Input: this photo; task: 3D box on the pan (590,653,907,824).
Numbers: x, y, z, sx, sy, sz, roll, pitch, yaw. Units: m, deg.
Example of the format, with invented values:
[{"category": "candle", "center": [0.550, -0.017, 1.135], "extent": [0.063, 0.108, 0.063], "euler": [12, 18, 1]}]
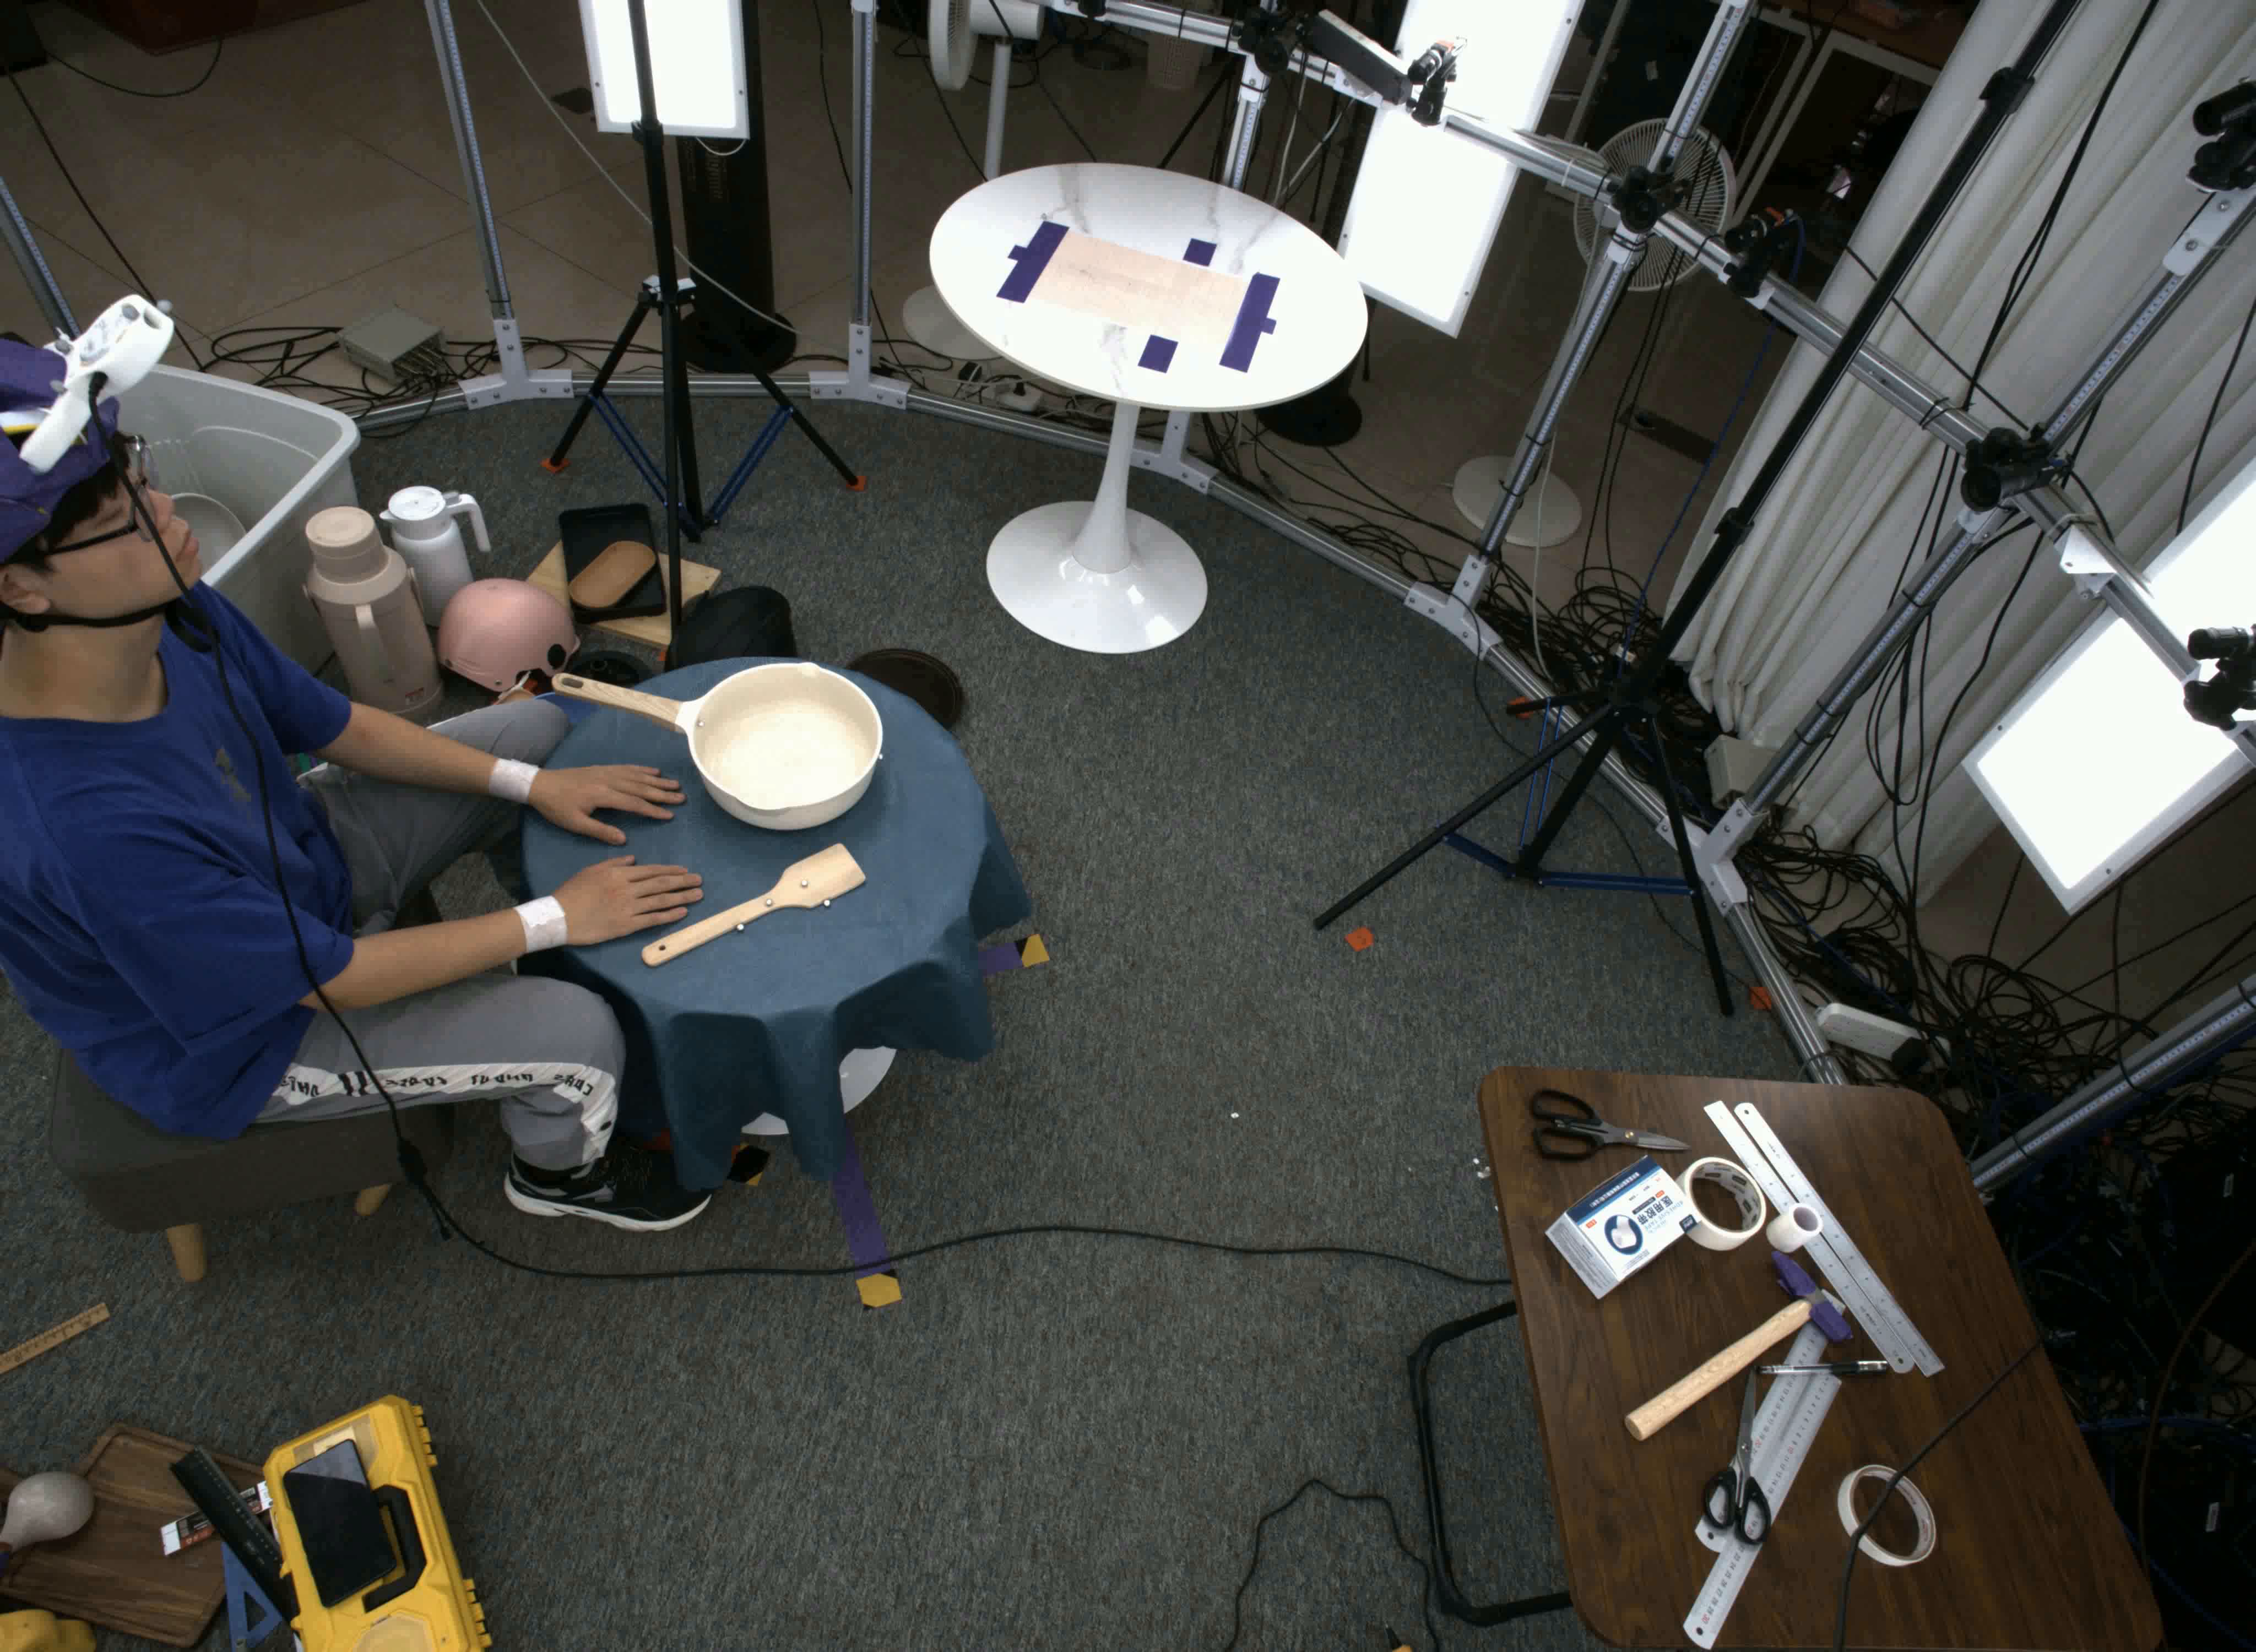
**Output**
[{"category": "pan", "center": [-0.516, -0.131, 1.744], "extent": [0.433, 0.104, 0.259], "euler": [10, 54, -6]}]

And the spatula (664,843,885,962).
[{"category": "spatula", "center": [-0.450, 0.101, 1.647], "extent": [0.294, 0.011, 0.070], "euler": [-26, 65, -29]}]
